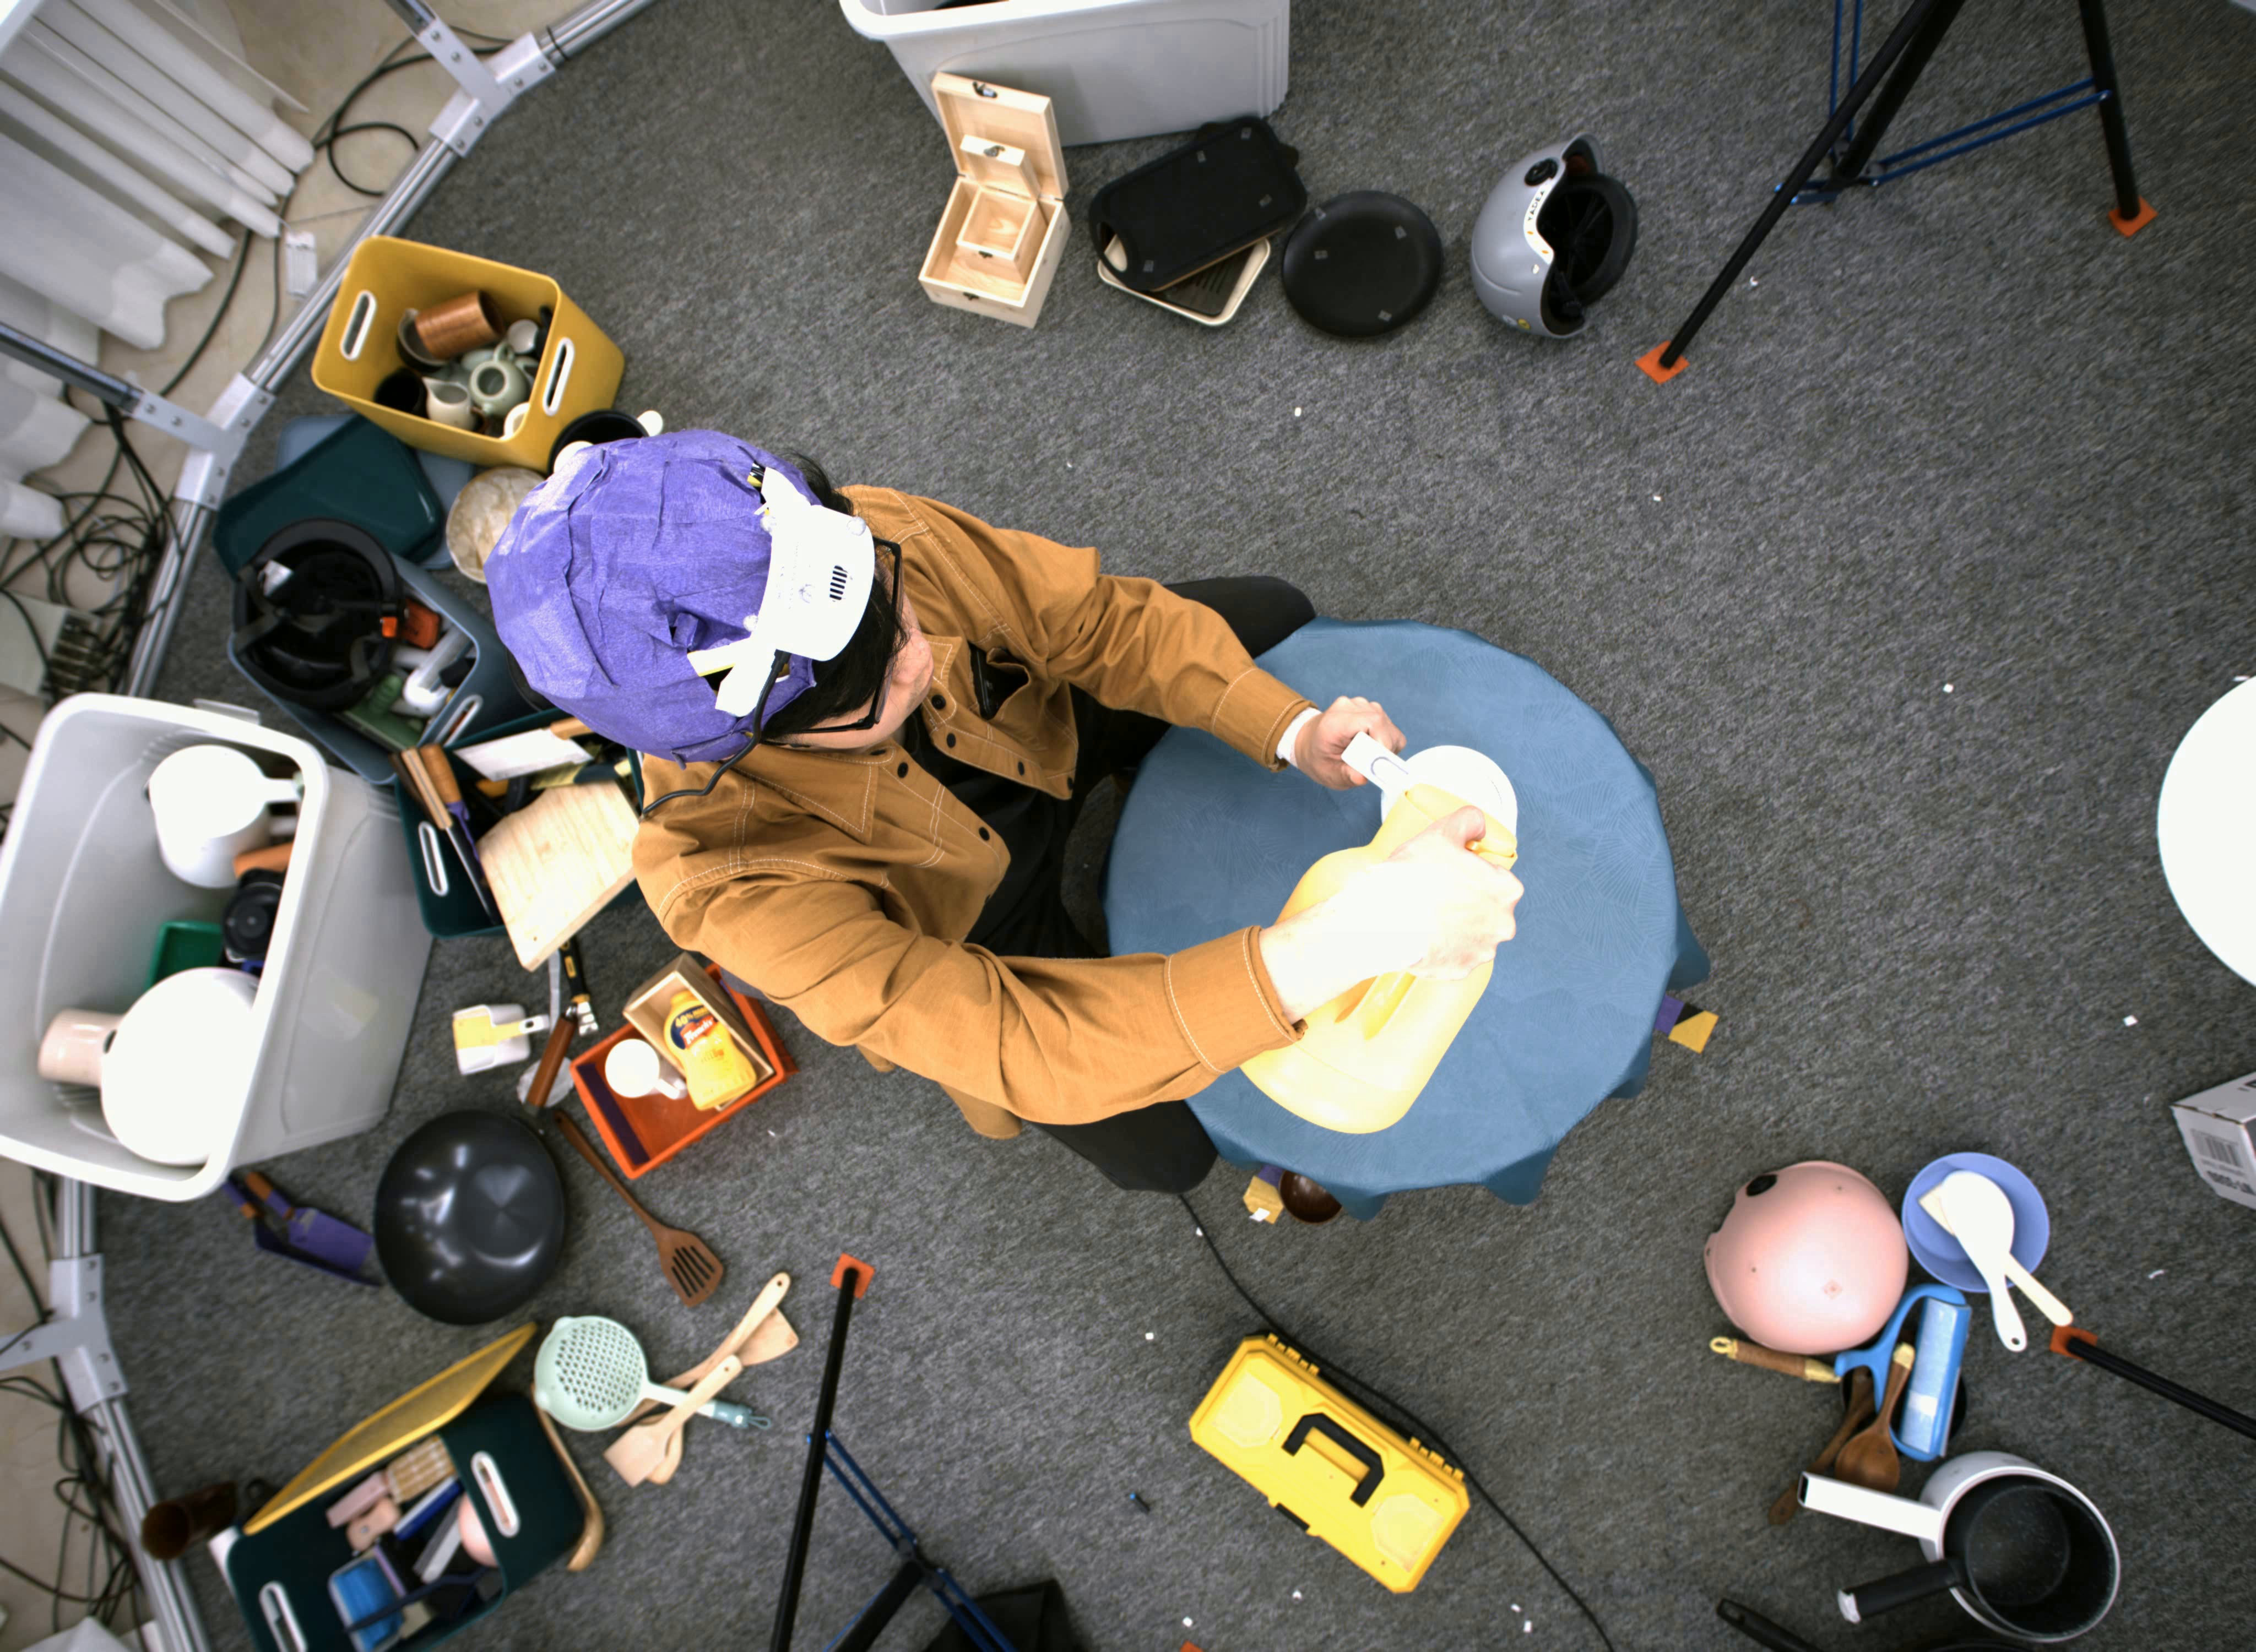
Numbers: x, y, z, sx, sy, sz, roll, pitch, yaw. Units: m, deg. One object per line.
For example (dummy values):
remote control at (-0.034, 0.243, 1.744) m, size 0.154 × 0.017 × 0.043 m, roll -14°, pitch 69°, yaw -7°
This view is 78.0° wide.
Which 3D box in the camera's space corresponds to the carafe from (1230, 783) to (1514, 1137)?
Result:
carafe at (0.189, 0.099, 1.033) m, size 0.163 × 0.199 × 0.264 m, roll 26°, pitch 108°, yaw 7°

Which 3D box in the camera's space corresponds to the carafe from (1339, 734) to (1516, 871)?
carafe at (0.280, -0.023, 1.265) m, size 0.172 × 0.266 × 0.125 m, roll 36°, pitch 103°, yaw 10°
